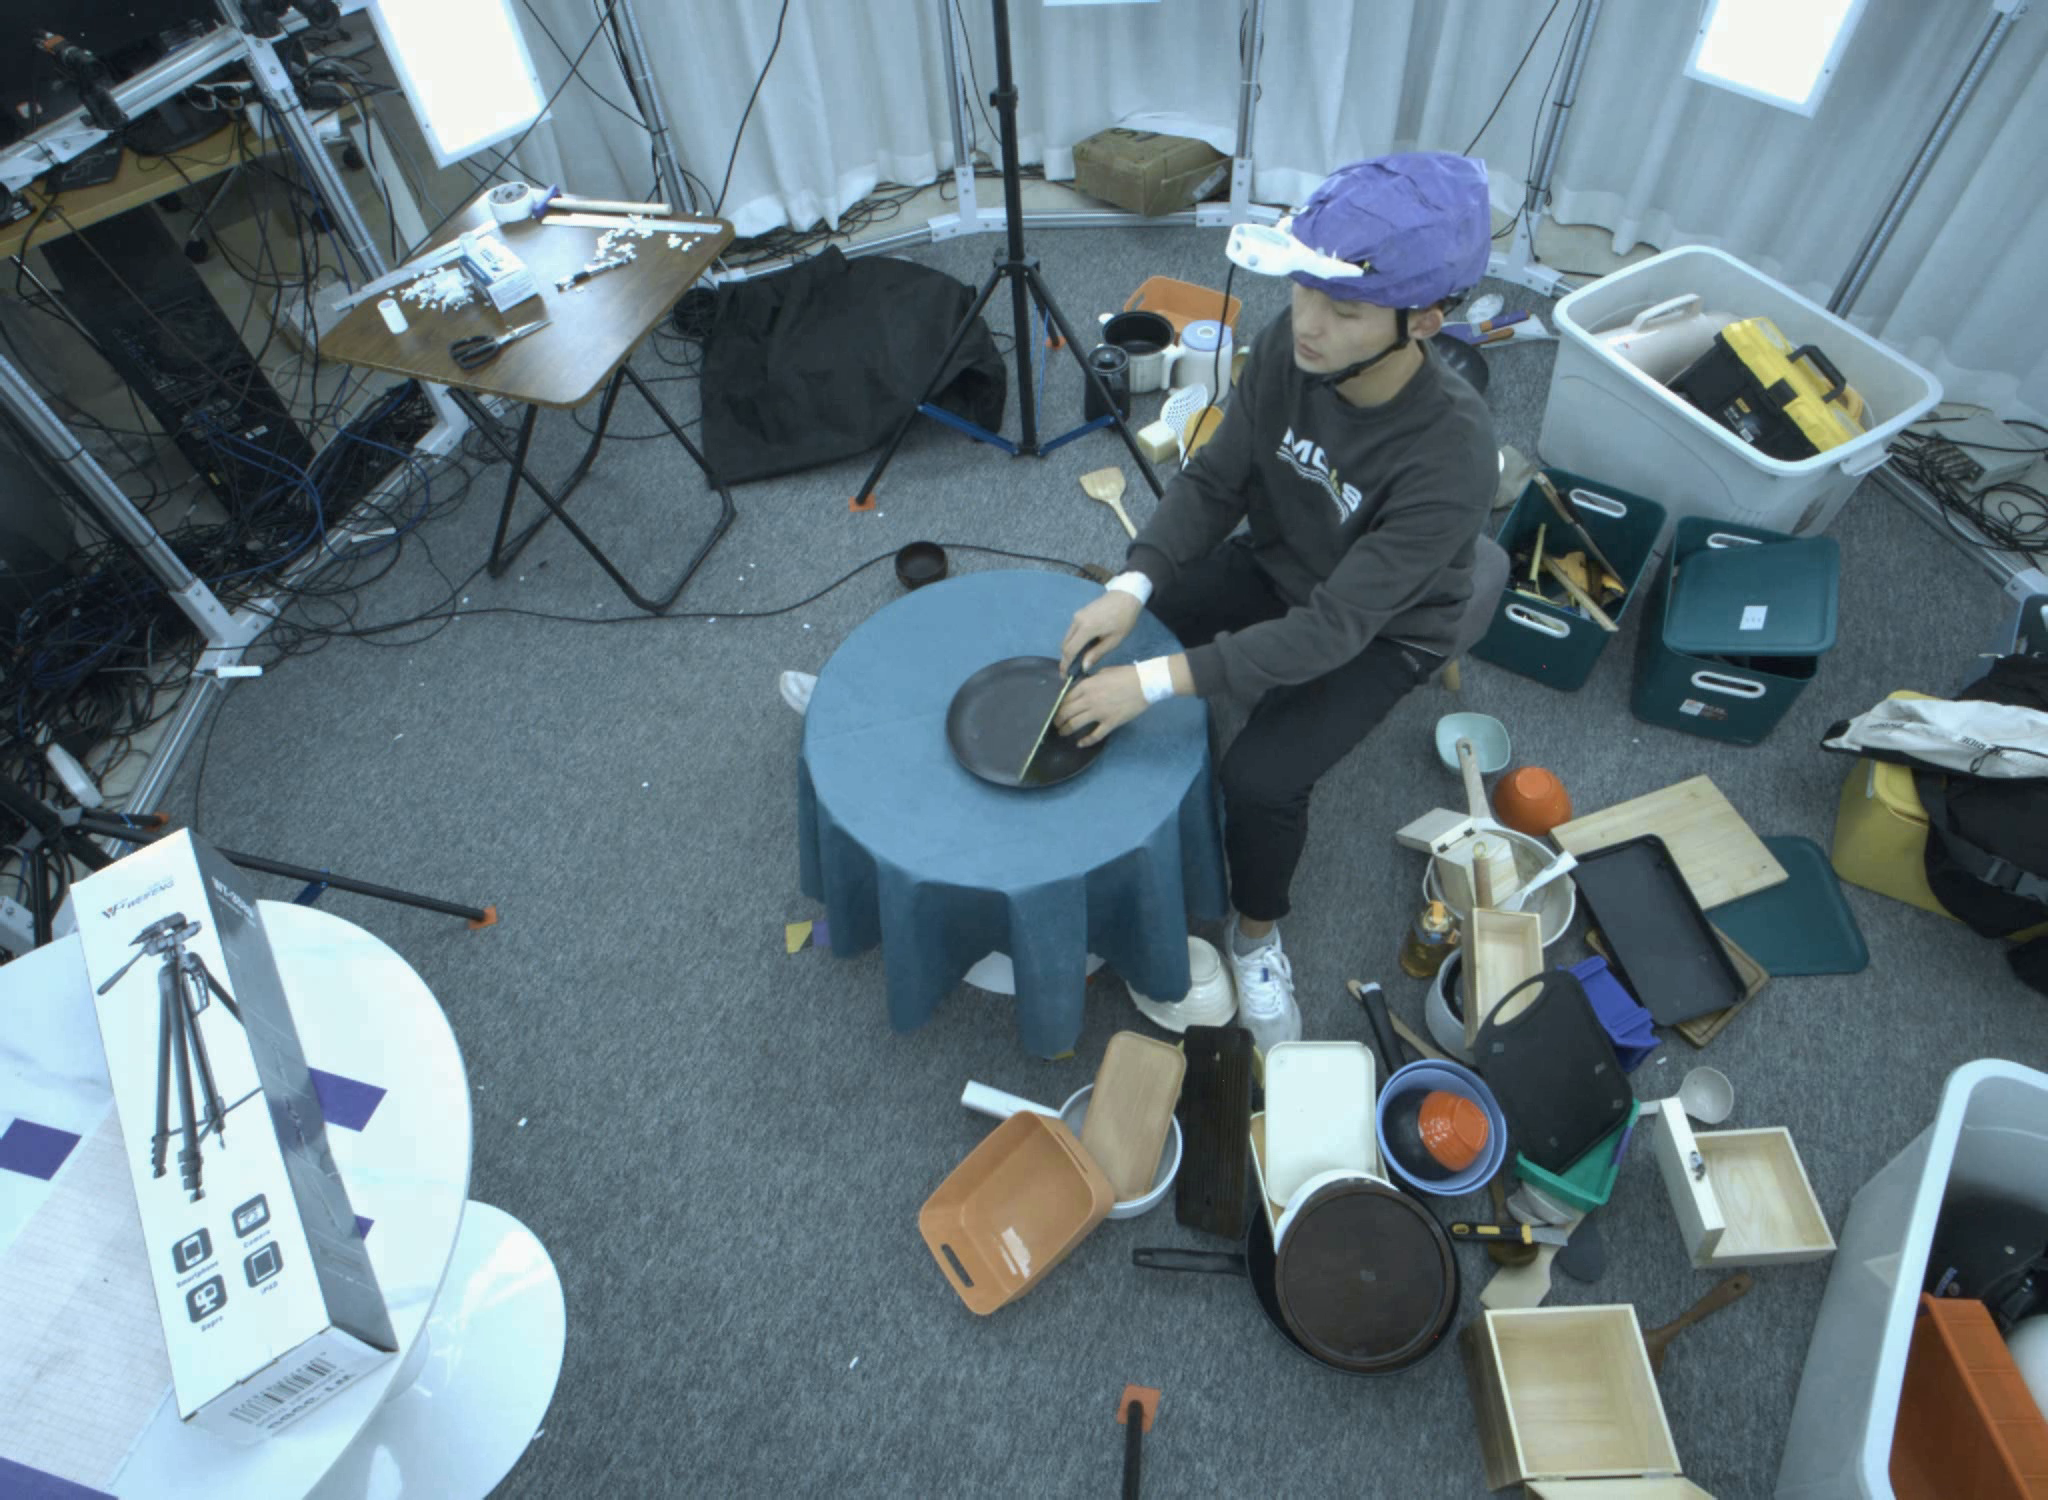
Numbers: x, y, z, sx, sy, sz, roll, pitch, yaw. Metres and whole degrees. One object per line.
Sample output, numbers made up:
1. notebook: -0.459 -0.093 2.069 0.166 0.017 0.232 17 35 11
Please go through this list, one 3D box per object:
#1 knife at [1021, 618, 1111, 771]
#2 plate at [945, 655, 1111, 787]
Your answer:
1. knife: 0.059 -0.082 1.796 0.027 0.081 0.290 30 61 0
2. plate: 0.005 -0.041 1.810 0.244 0.023 0.242 0 55 1
